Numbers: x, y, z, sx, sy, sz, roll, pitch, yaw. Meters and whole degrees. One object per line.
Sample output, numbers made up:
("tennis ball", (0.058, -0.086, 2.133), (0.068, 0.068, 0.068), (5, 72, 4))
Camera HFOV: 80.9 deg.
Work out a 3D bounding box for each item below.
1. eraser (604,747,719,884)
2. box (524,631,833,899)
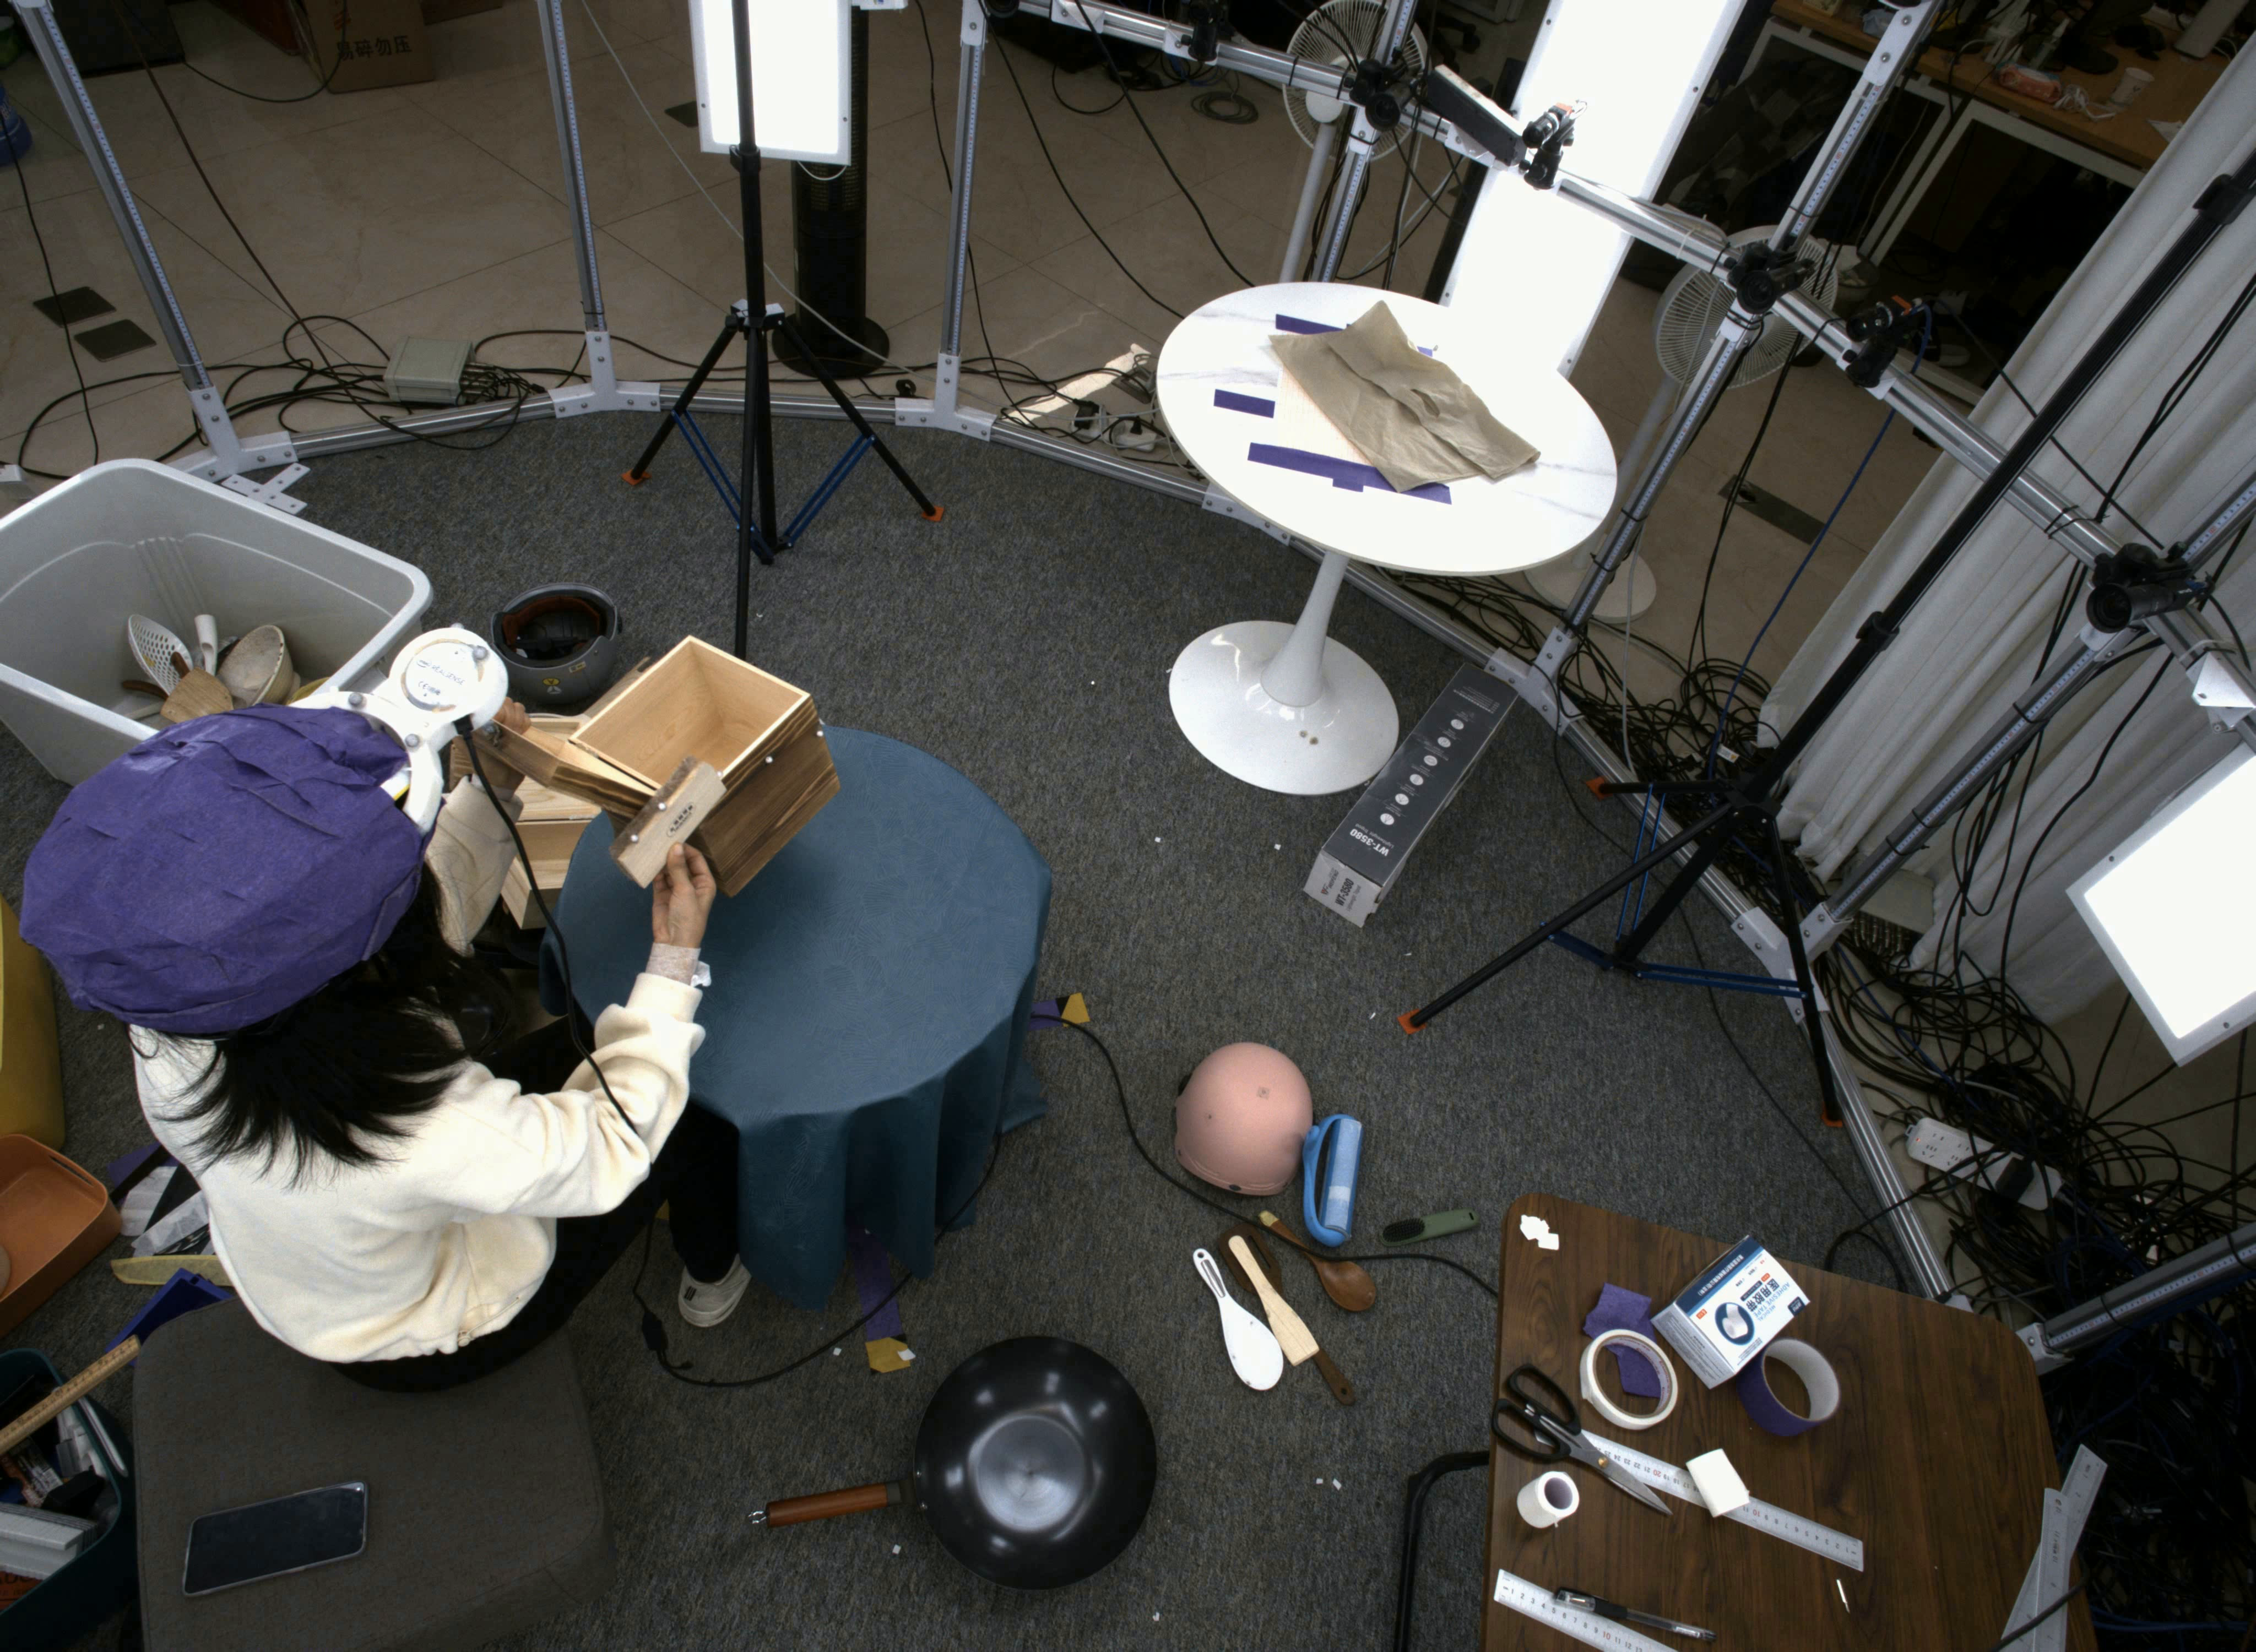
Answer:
("eraser", (-0.486, -0.014, 1.333), (0.028, 0.059, 0.139), (25, 65, 20))
("box", (-0.530, -0.106, 1.427), (0.203, 0.387, 0.321), (24, 55, 20))
